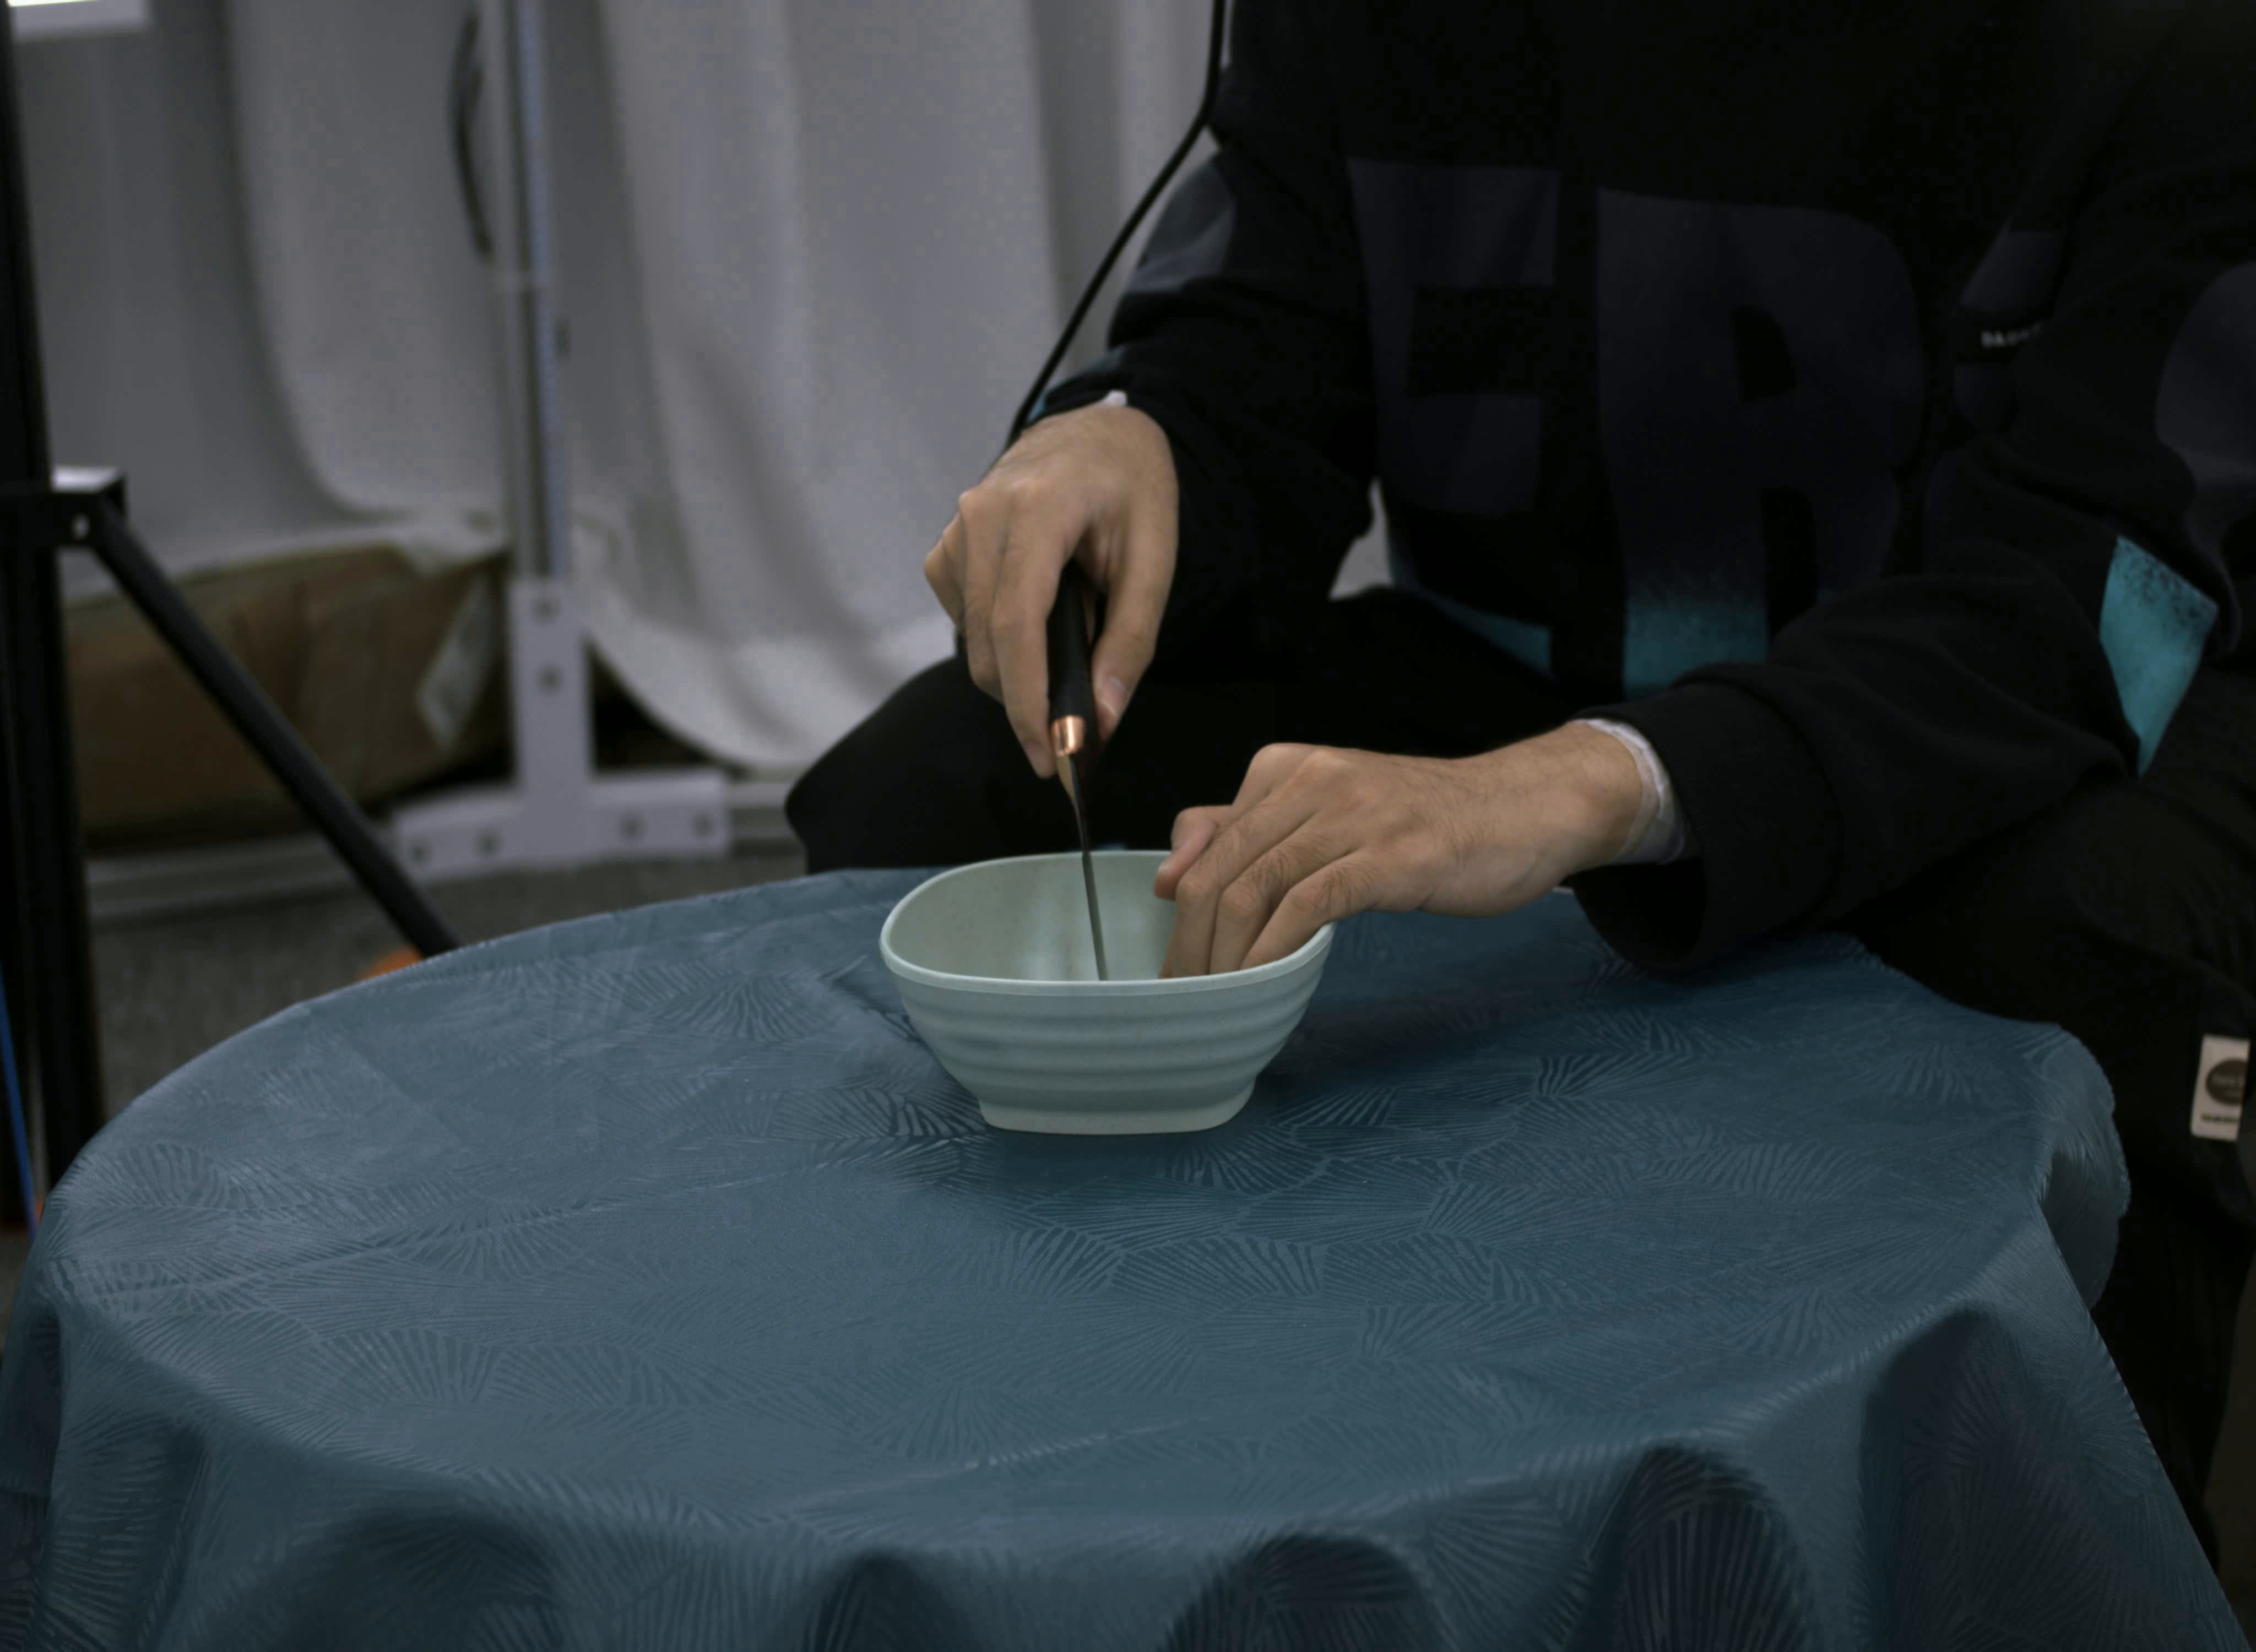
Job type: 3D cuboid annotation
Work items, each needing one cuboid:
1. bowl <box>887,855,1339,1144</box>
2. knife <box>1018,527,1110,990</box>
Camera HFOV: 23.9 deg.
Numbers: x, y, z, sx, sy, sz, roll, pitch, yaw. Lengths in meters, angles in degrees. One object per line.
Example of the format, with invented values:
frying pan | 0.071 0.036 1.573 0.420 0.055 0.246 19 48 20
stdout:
bowl | -0.003 0.056 1.639 0.151 0.058 0.152 -4 16 0
knife | -0.017 -0.014 1.681 0.017 0.026 0.229 -8 45 -2
